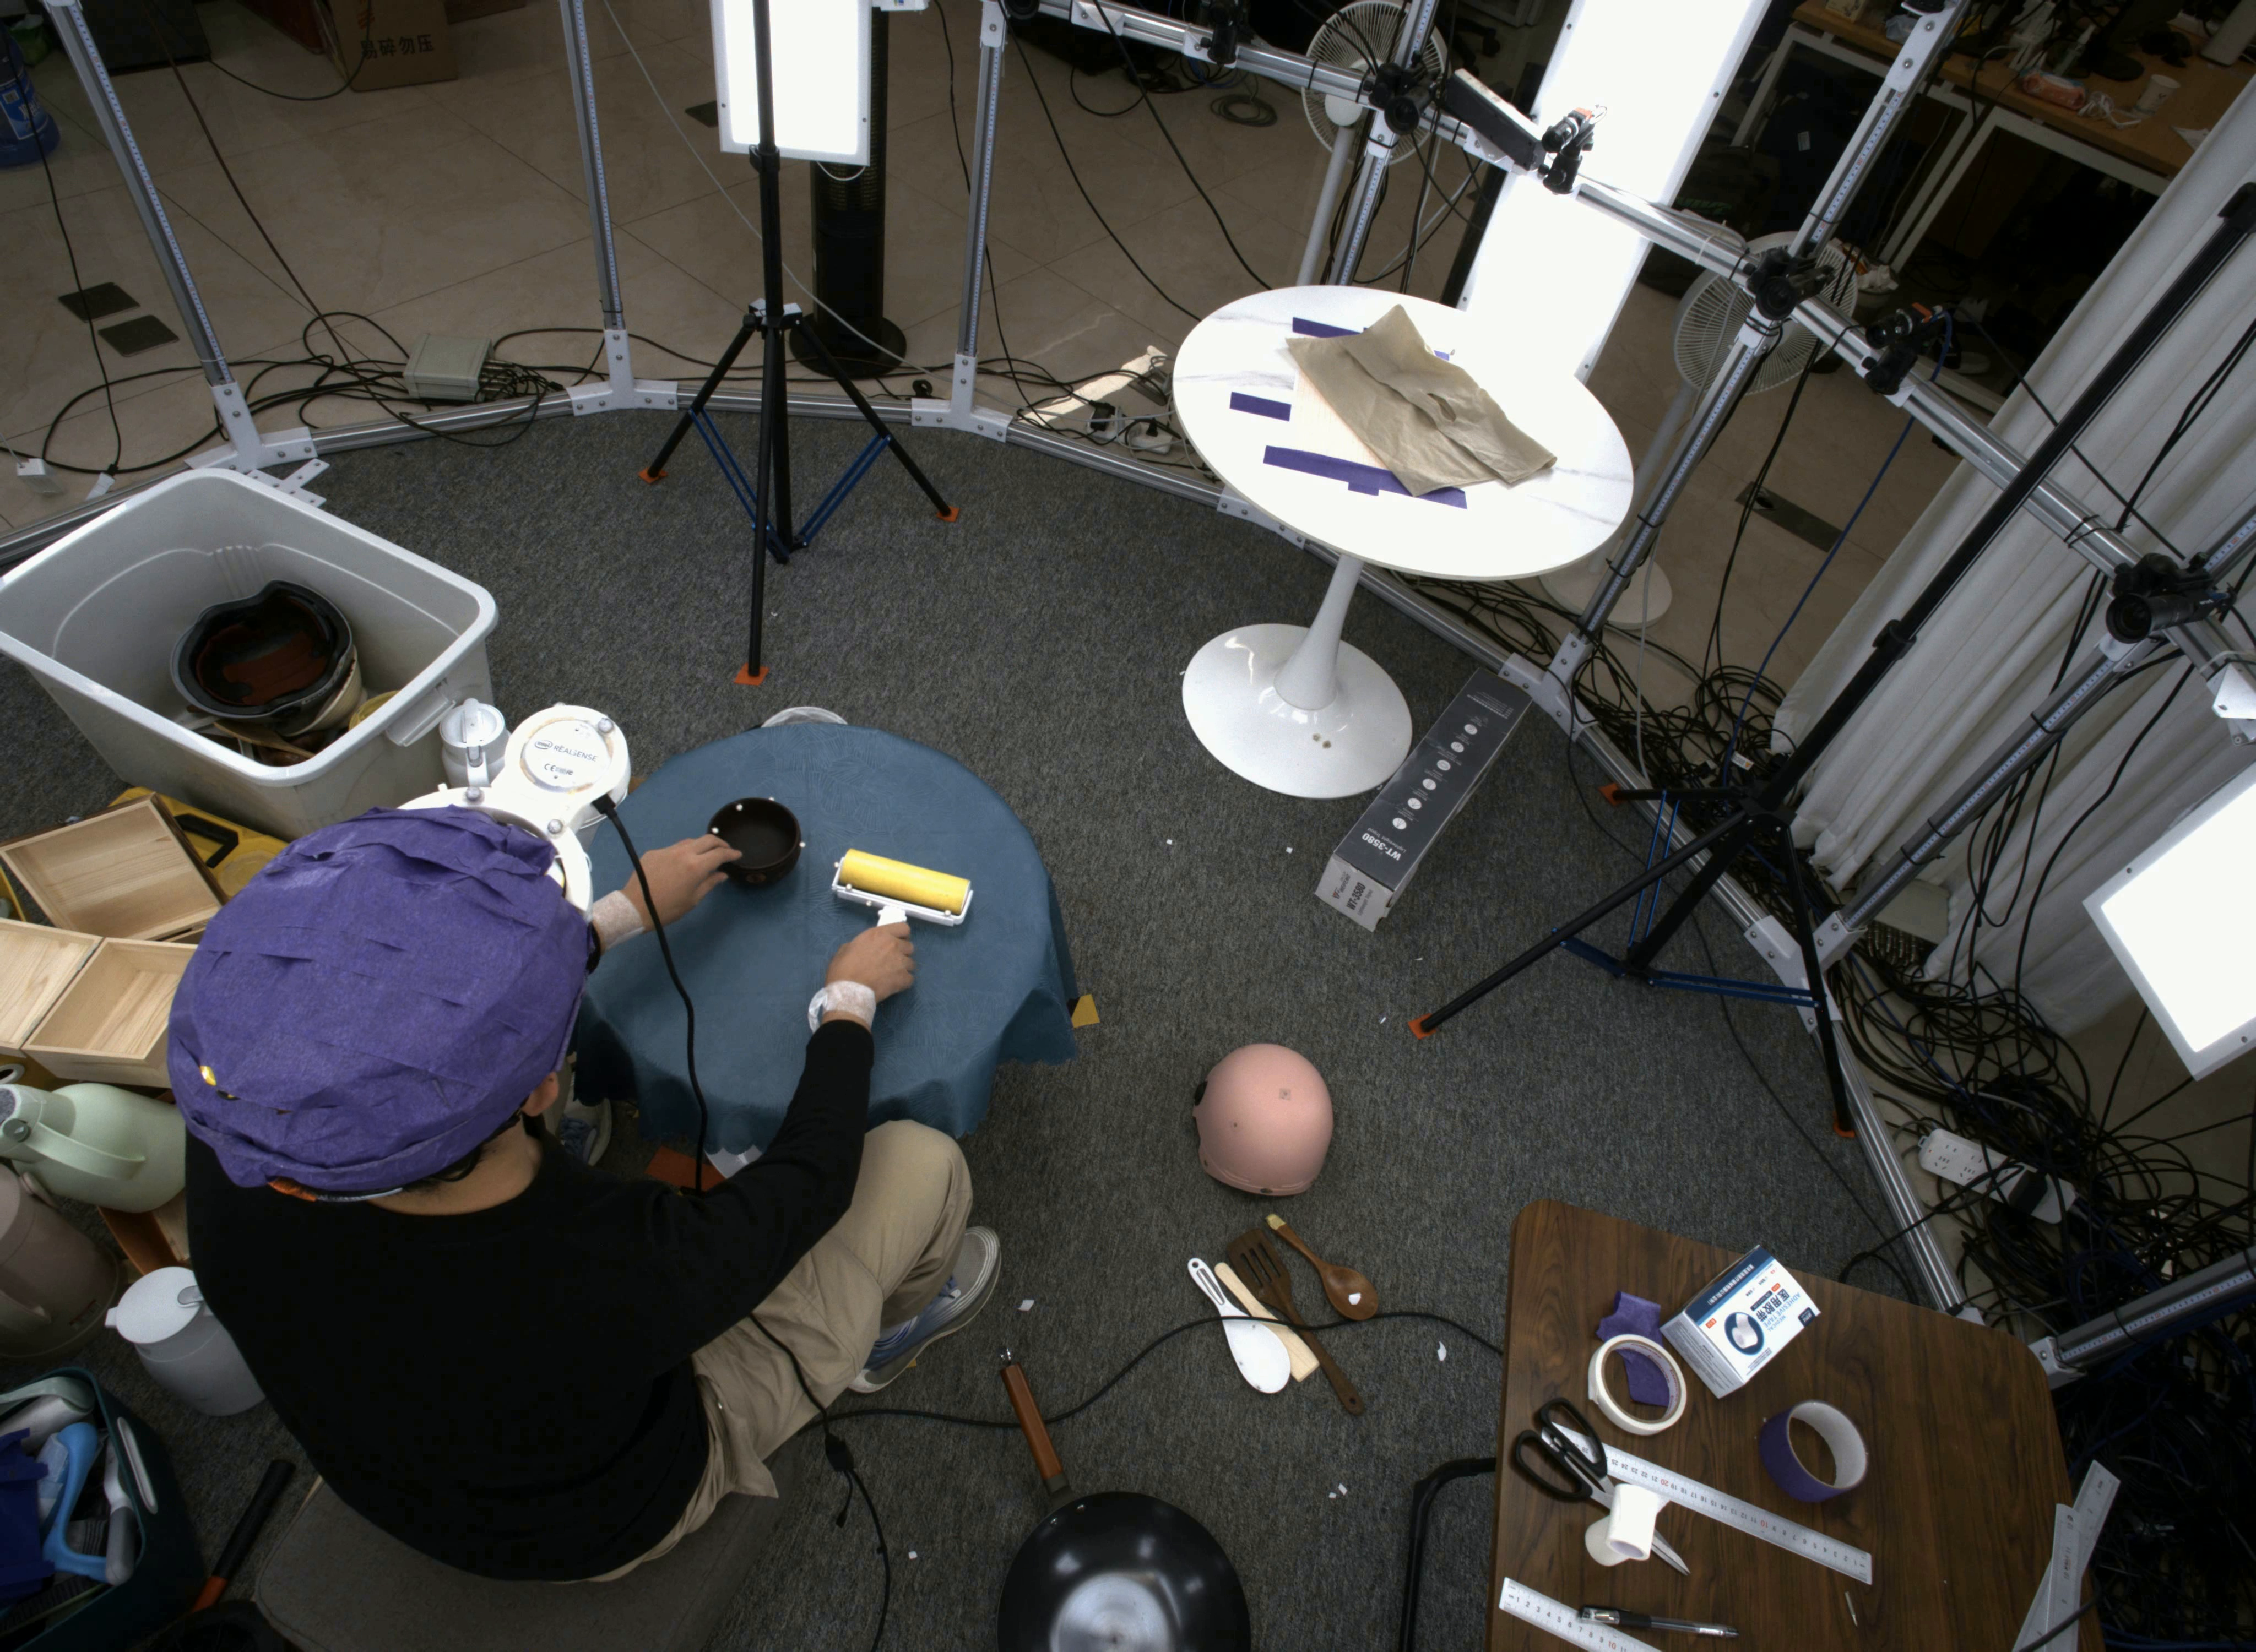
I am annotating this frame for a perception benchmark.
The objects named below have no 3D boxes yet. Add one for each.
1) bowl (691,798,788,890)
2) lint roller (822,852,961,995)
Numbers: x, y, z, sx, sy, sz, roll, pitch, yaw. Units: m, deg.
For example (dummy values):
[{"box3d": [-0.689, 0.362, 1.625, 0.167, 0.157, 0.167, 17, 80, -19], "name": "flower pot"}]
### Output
[{"box3d": [-0.489, 0.029, 1.631, 0.118, 0.071, 0.116, 8, 51, -8], "name": "bowl"}, {"box3d": [-0.309, 0.121, 1.620, 0.173, 0.052, 0.188, 13, 43, -4], "name": "lint roller"}]
